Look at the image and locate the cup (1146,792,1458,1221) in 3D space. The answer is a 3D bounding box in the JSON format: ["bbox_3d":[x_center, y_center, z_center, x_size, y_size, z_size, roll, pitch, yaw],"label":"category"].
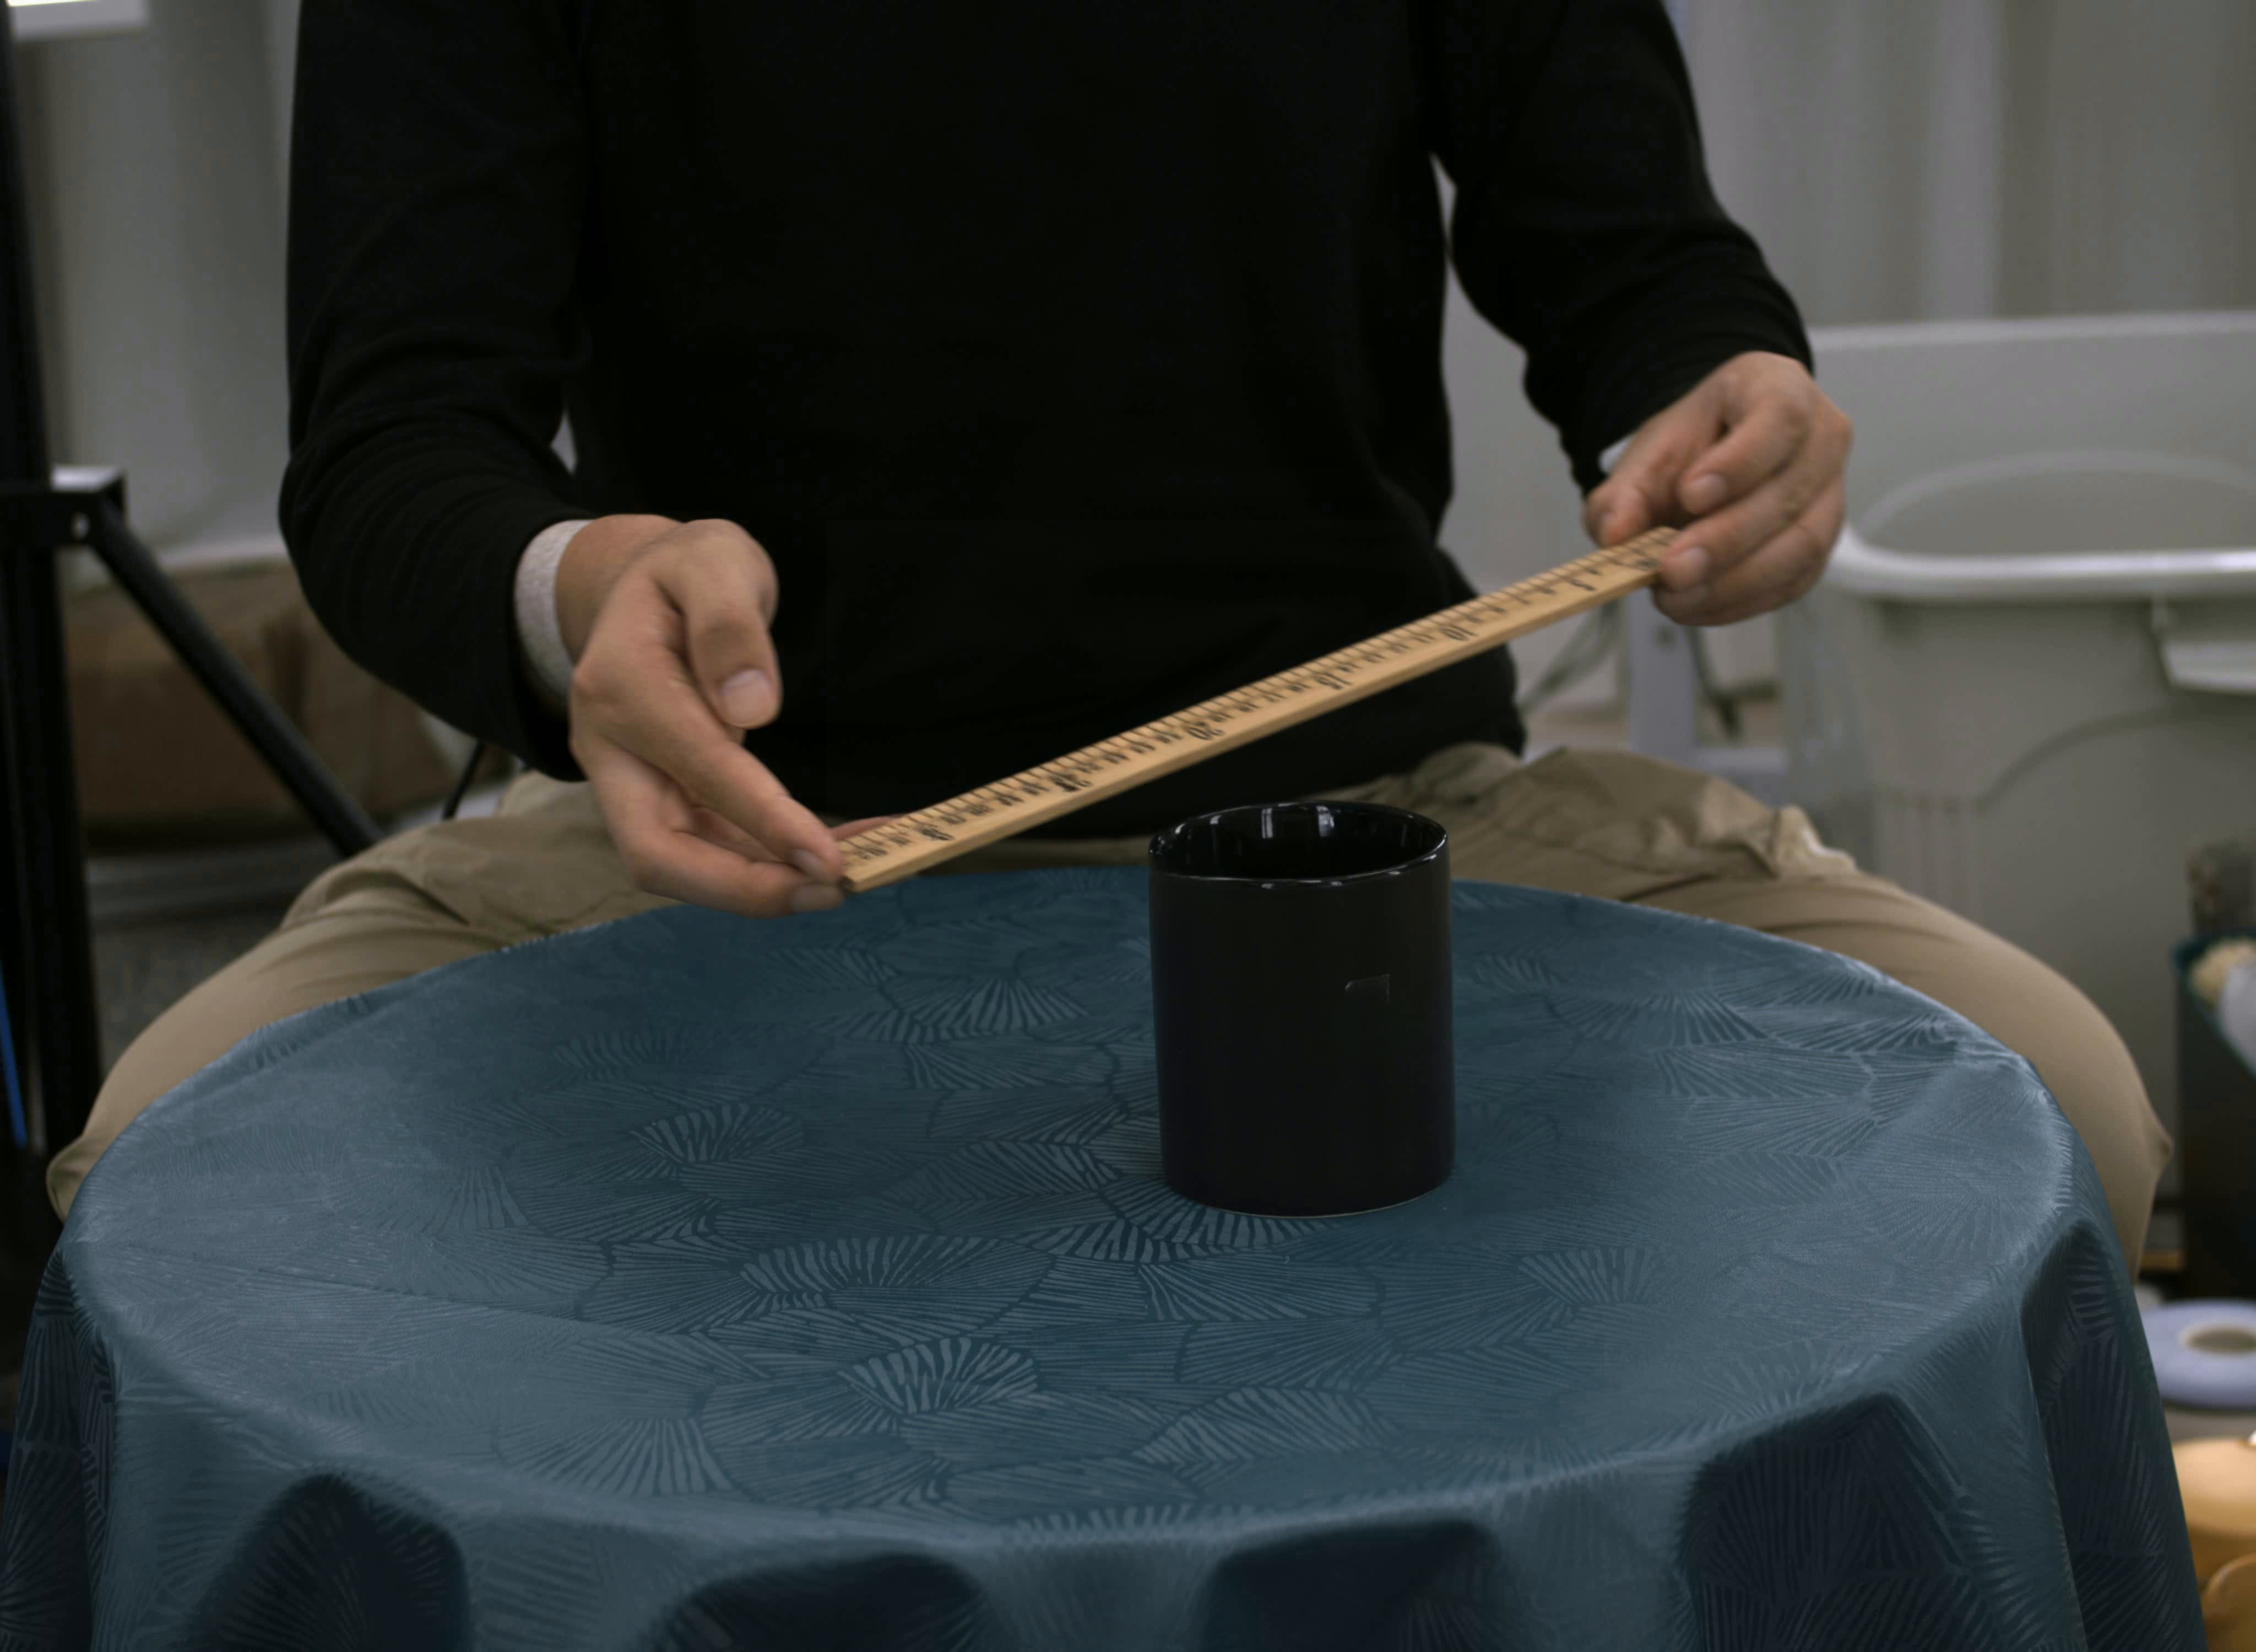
[{"bbox_3d":[0.050,0.048,1.572,0.088,0.105,0.124,-5,16,-3],"label":"cup"}]

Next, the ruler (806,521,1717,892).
[{"bbox_3d":[0.046,-0.041,1.603,0.325,0.022,0.028,-21,35,-29],"label":"ruler"}]
